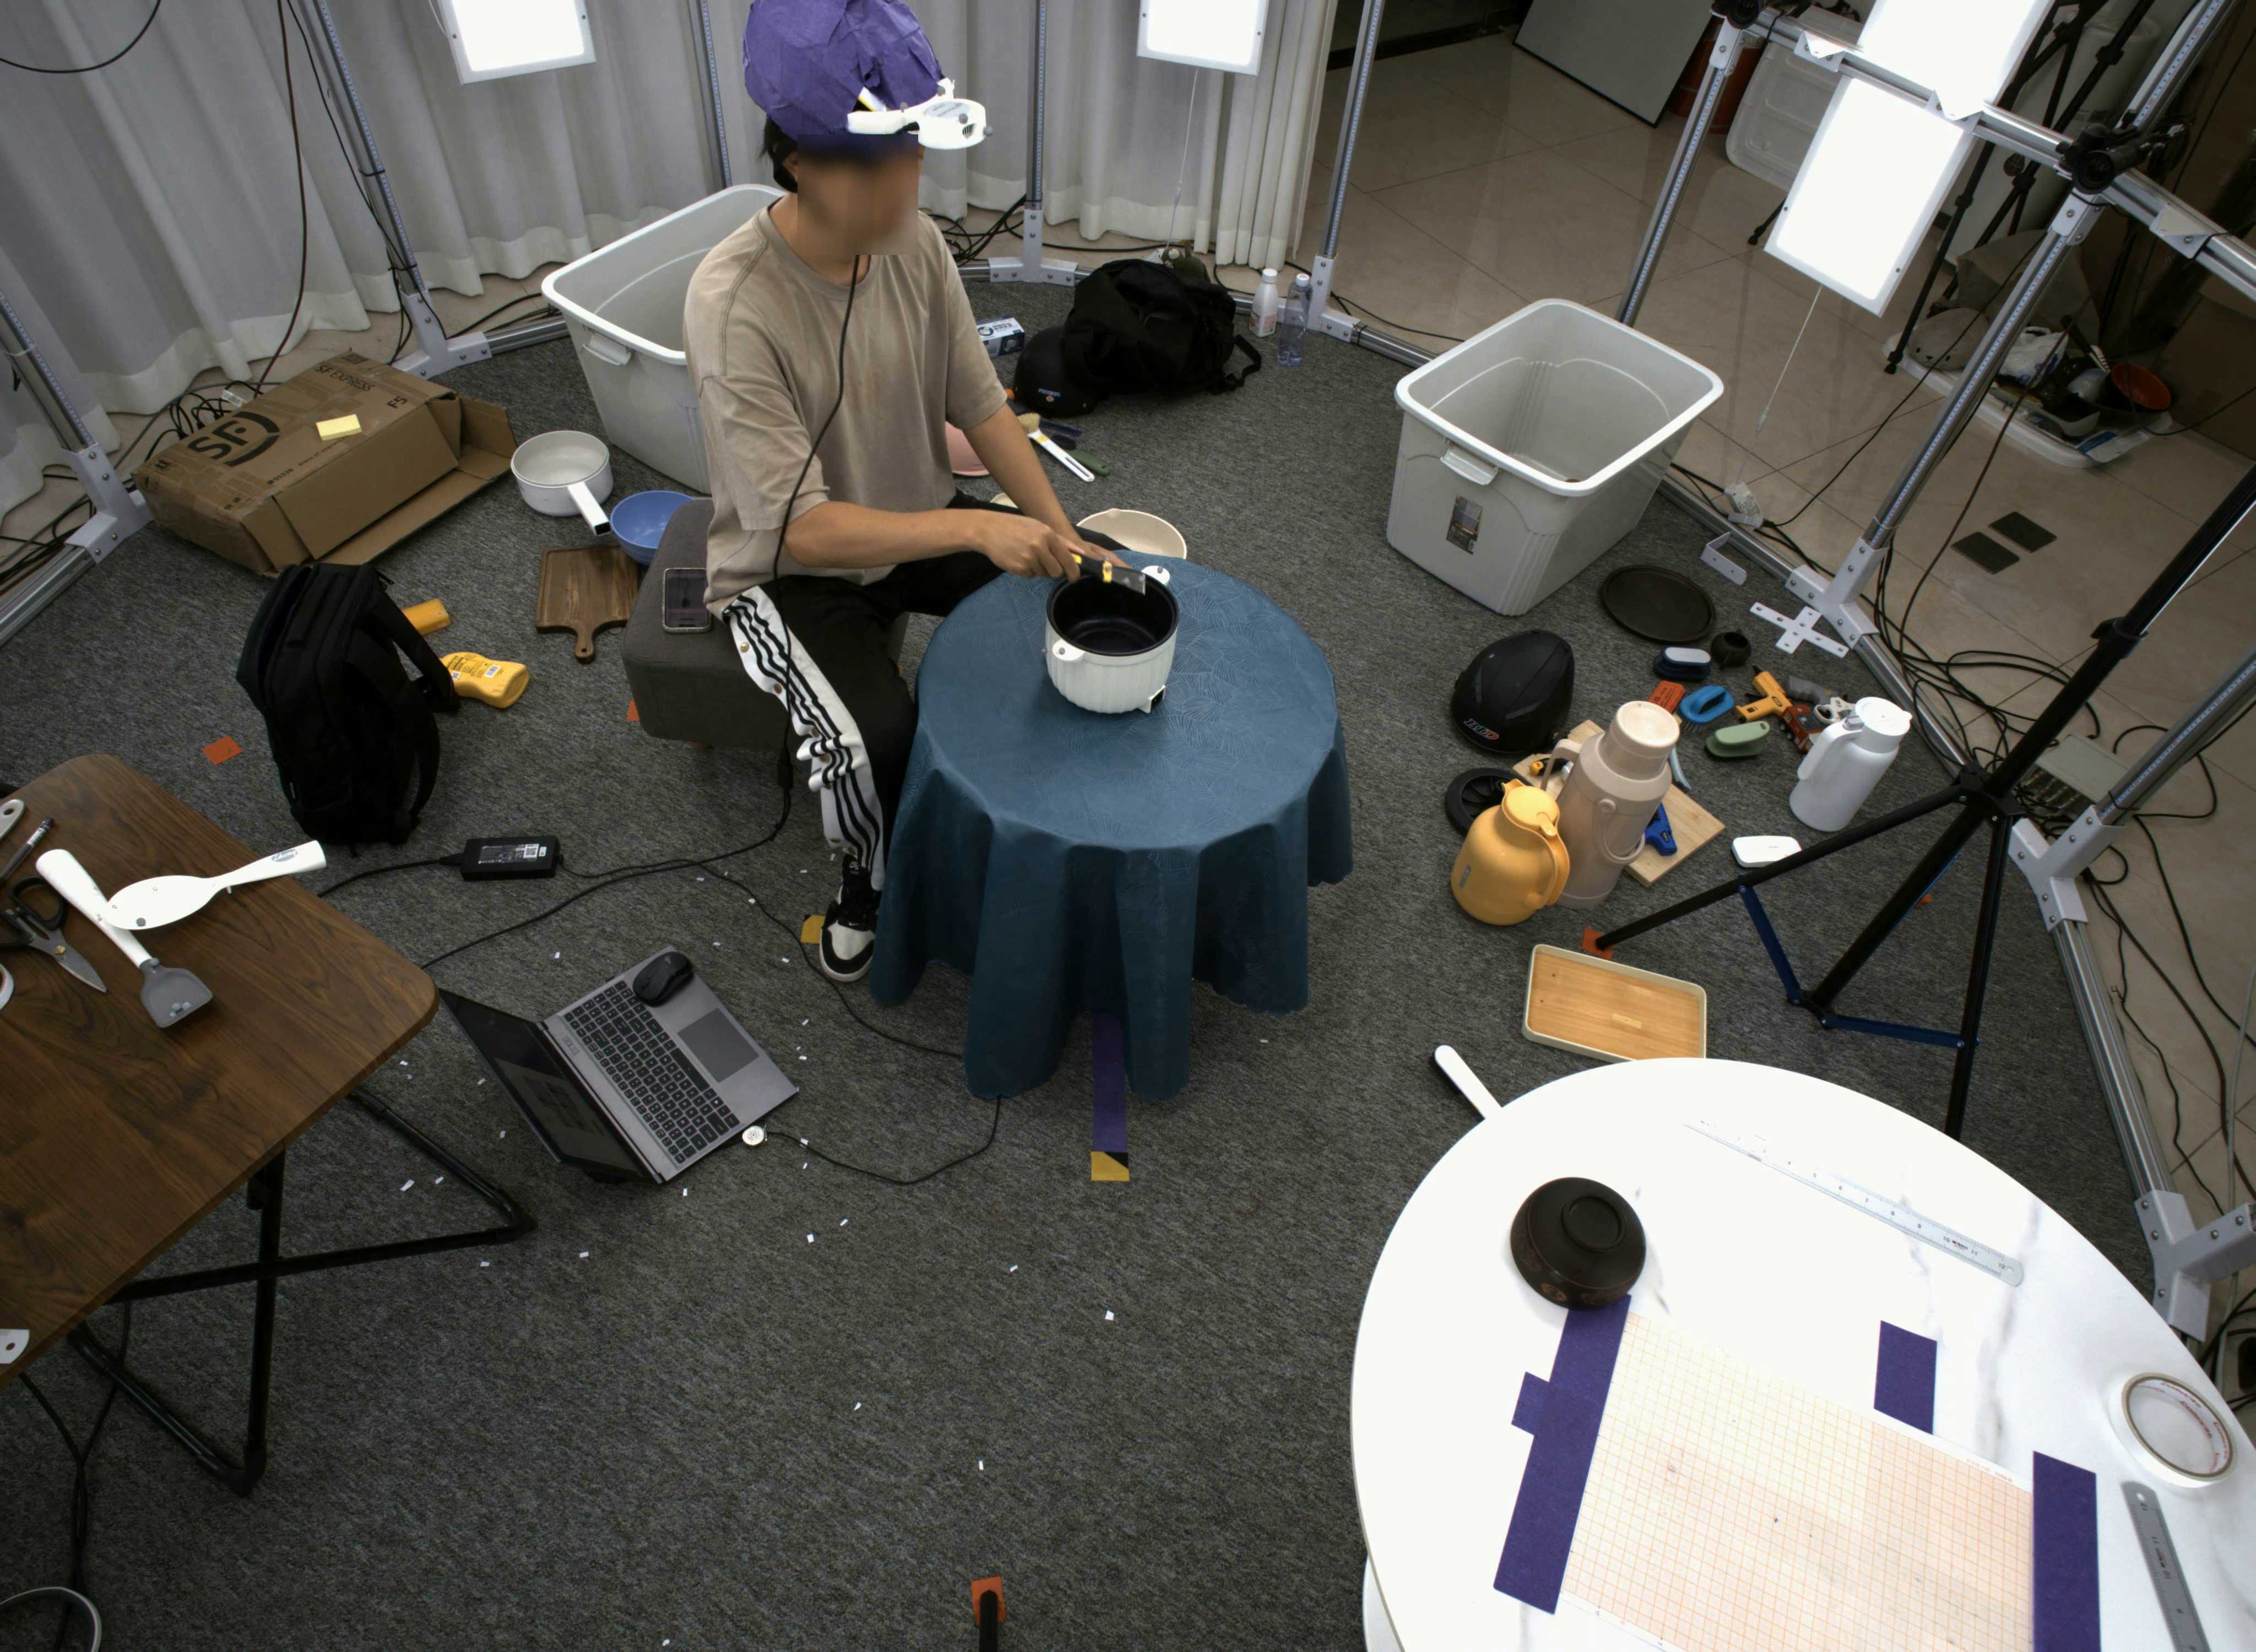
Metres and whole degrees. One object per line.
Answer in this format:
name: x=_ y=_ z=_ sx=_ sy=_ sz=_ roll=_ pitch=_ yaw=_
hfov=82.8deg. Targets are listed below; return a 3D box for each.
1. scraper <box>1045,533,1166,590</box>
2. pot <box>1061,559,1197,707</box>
scraper: x=-0.028 y=-0.347 z=1.685 sx=0.170 sy=0.015 sz=0.039 roll=13 pitch=61 yaw=-20
pot: x=-0.007 y=-0.265 z=1.792 sx=0.192 sy=0.139 sz=0.243 roll=33 pitch=52 yaw=17
